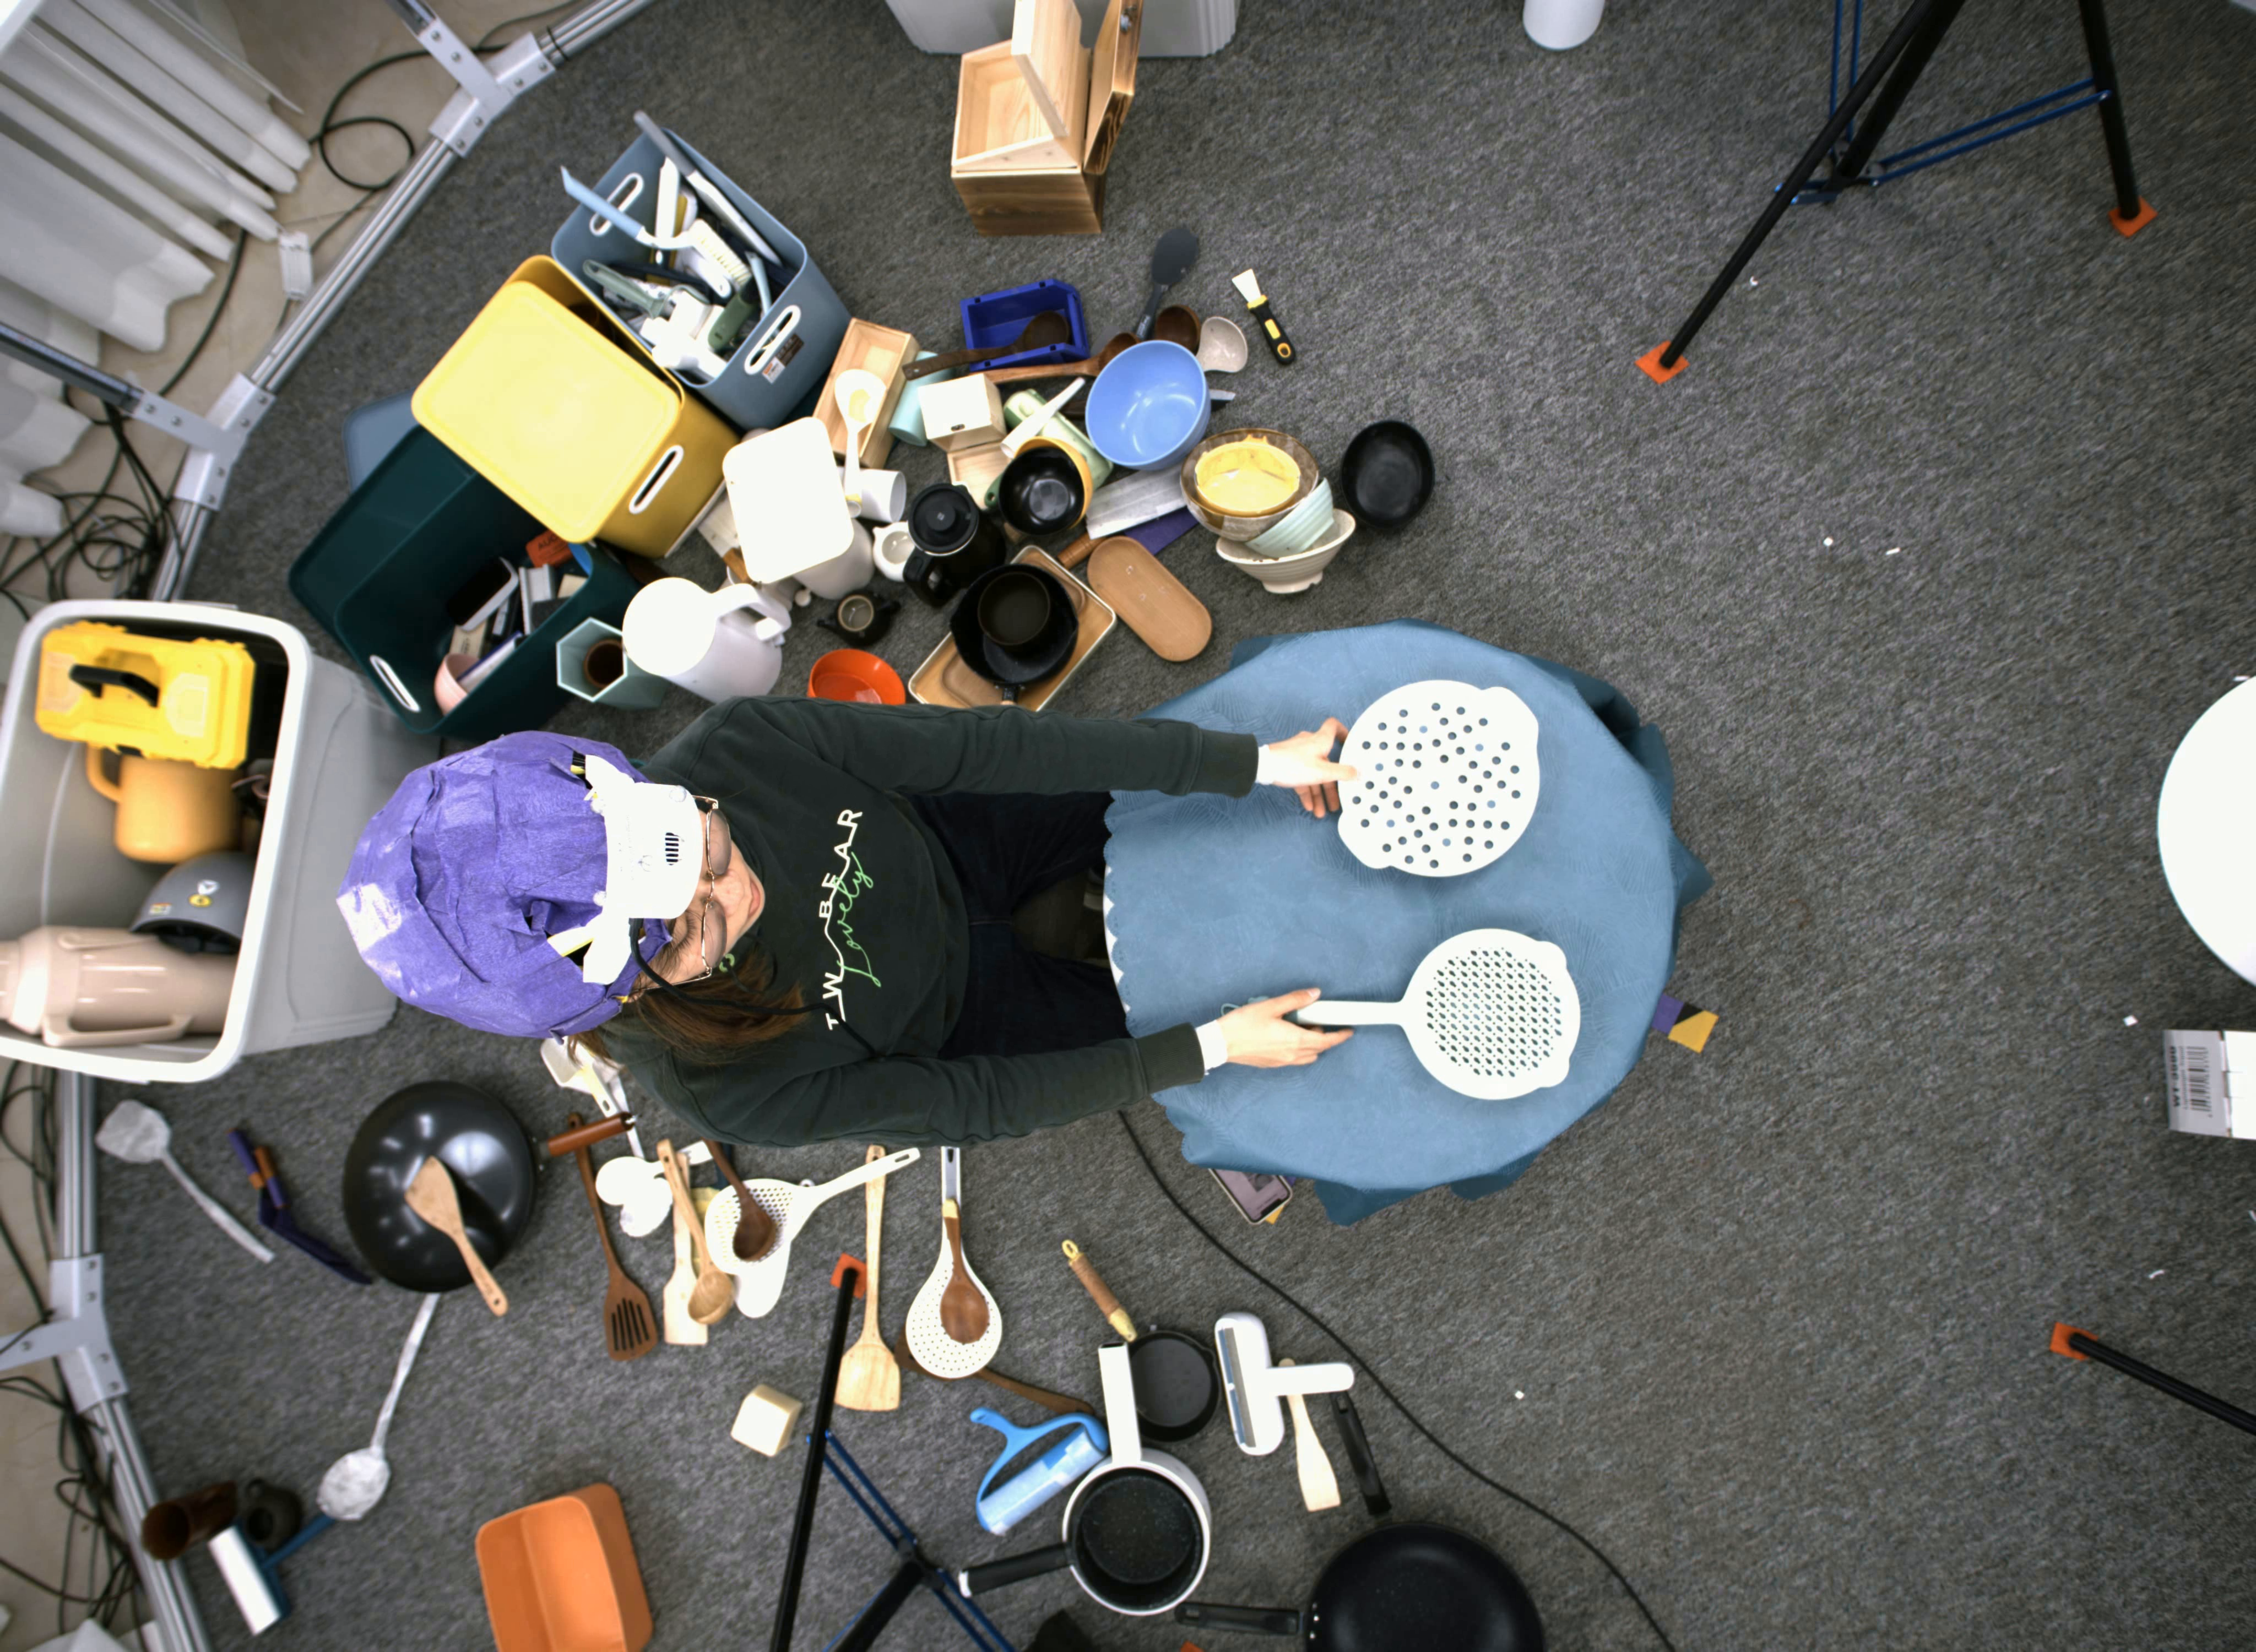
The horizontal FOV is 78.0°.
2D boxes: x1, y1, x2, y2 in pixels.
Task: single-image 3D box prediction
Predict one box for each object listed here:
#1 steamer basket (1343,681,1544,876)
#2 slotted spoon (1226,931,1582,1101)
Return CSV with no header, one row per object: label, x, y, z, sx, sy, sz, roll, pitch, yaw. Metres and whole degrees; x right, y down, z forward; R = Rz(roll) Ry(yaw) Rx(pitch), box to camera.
steamer basket,0.326,-0.048,1.430,0.231,0.069,0.201,-42,79,5
slotted spoon,0.277,0.193,1.422,0.360,0.075,0.168,-1,85,10
